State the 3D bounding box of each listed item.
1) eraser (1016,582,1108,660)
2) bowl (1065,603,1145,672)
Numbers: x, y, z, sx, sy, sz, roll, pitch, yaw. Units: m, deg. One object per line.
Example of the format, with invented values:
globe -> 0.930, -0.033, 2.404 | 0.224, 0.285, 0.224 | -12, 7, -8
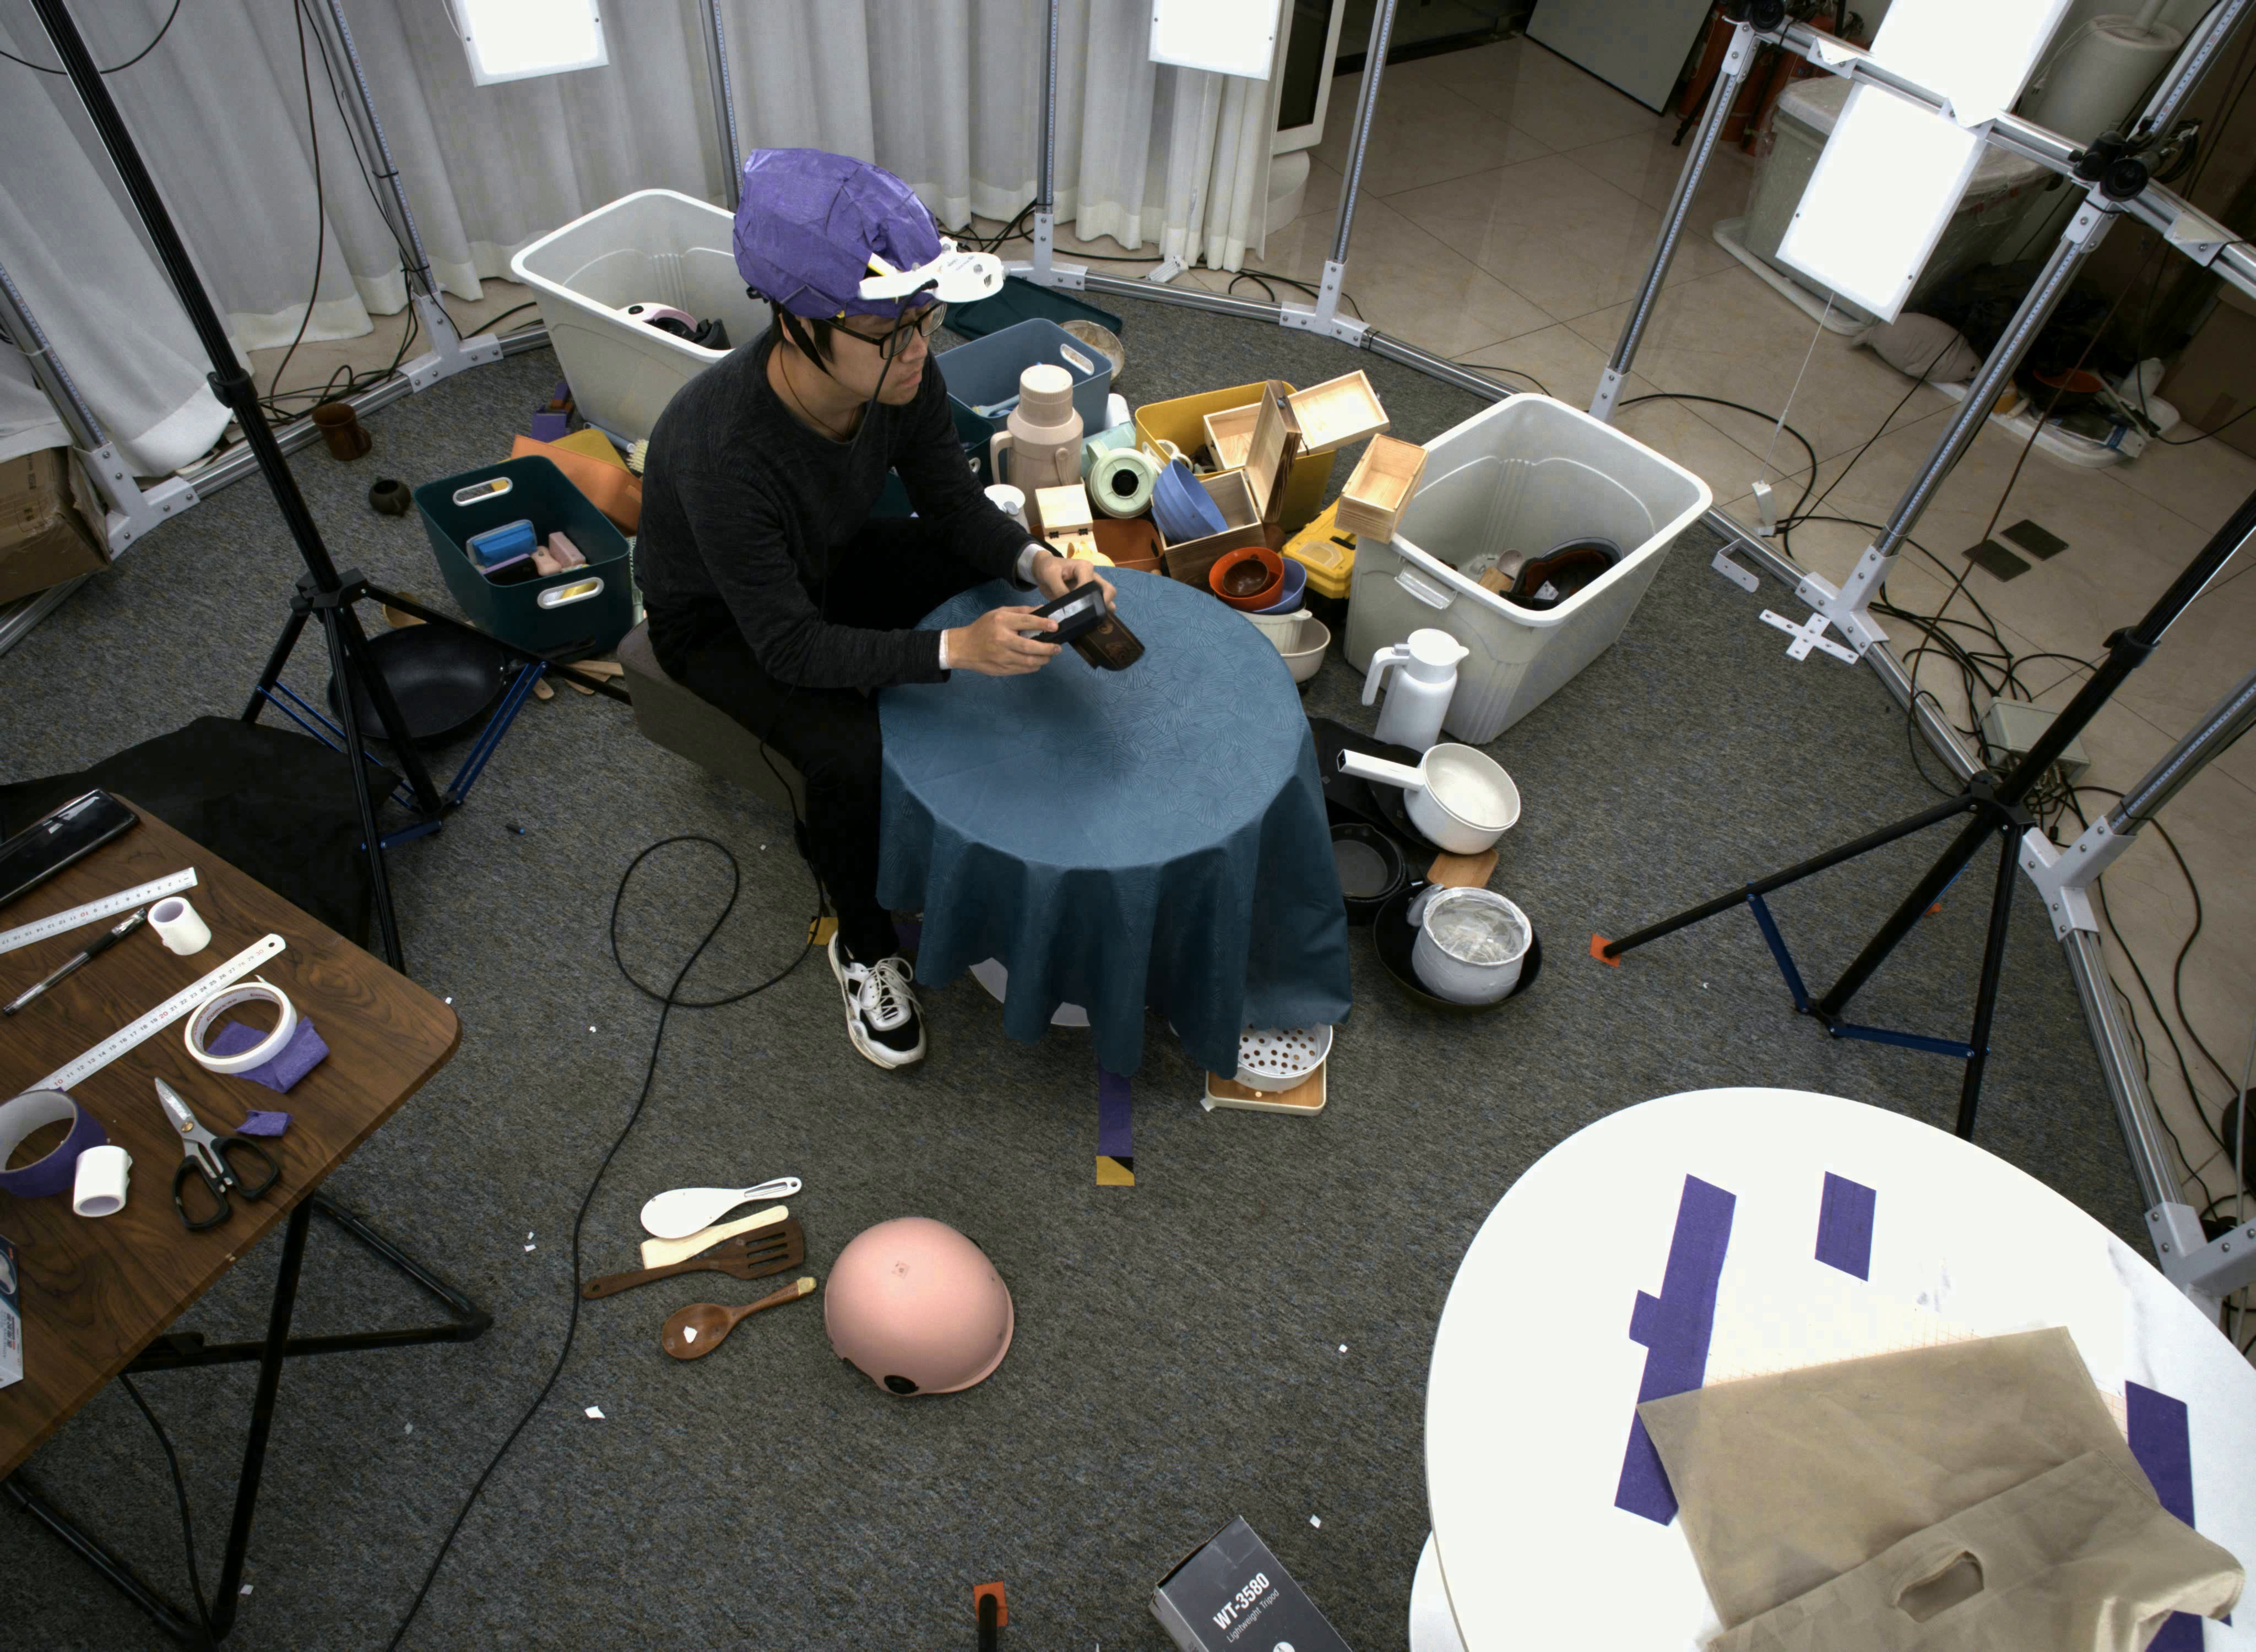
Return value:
eraser -> -0.086, -0.265, 1.664 | 0.125, 0.030, 0.054 | -24, 68, 27
bowl -> -0.041, -0.252, 1.713 | 0.069, 0.116, 0.120 | -44, 59, 6
